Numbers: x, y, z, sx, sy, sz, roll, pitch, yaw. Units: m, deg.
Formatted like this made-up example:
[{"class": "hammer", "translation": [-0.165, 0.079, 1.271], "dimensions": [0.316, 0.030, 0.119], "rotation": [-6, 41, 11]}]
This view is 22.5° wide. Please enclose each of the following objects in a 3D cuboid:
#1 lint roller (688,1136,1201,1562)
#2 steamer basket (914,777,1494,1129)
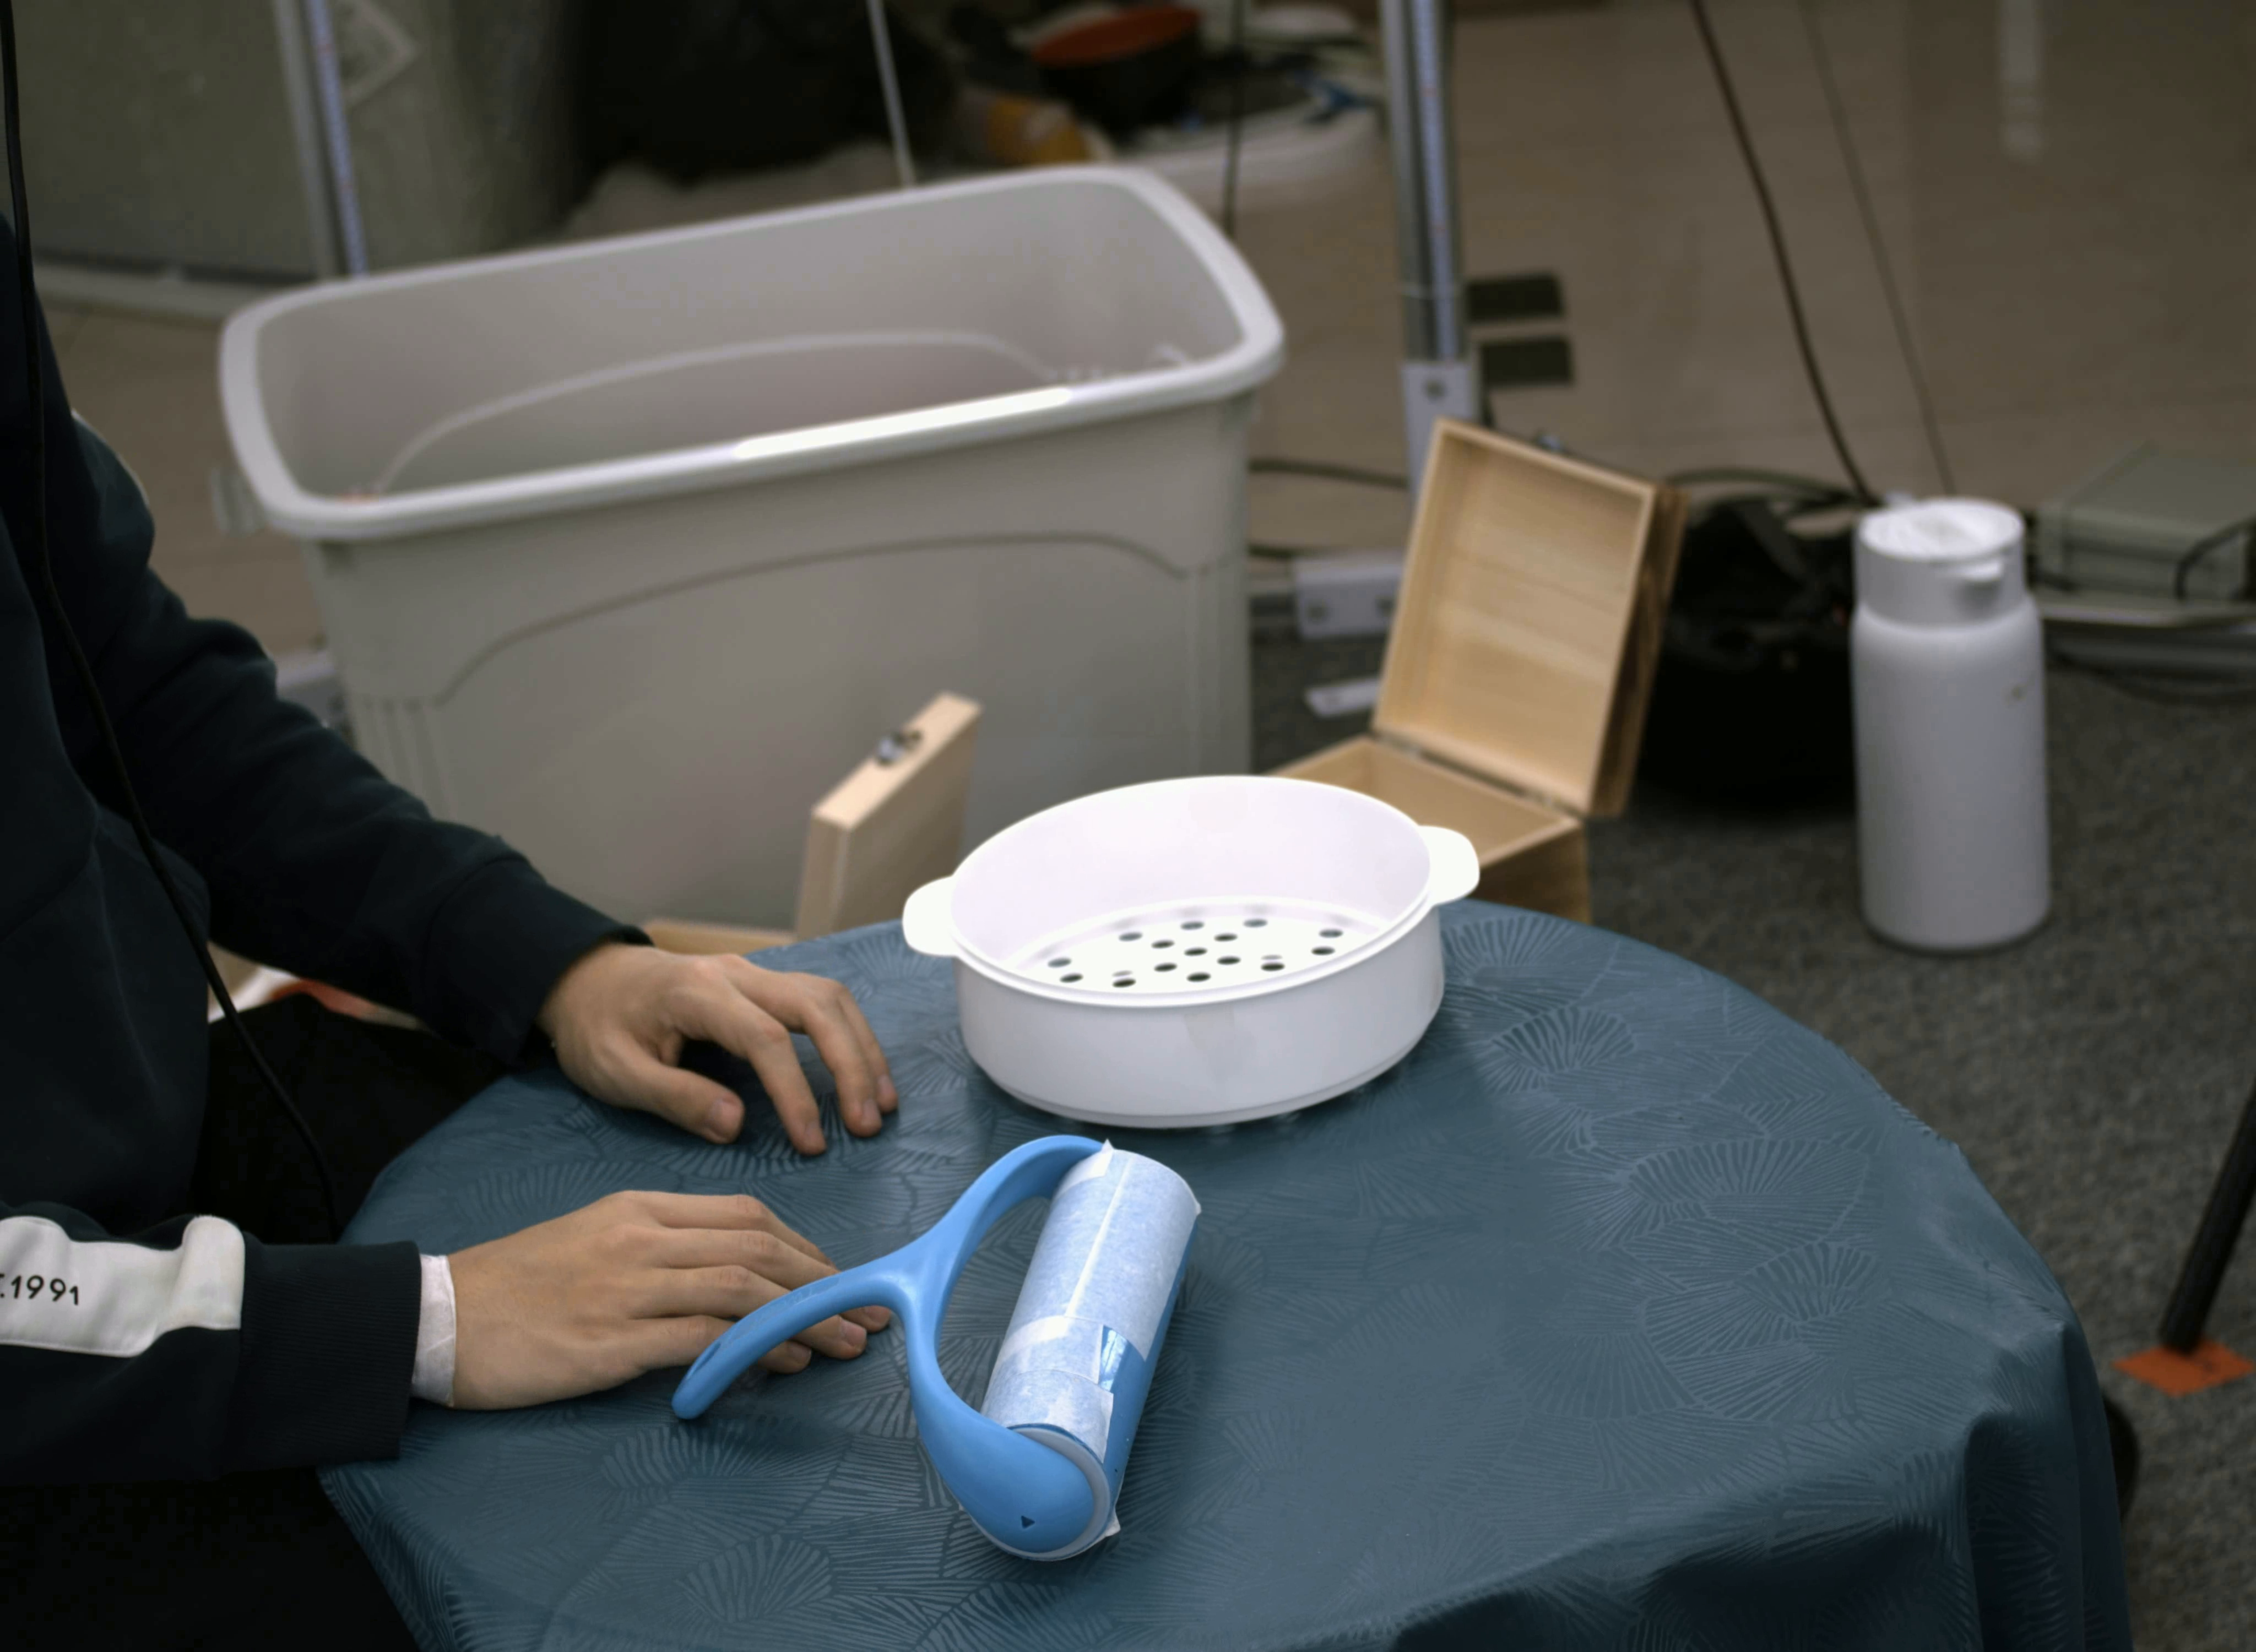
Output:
[{"class": "lint roller", "translation": [-0.070, 0.185, 1.998], "dimensions": [0.180, 0.069, 0.225], "rotation": [-2, 28, 7]}, {"class": "steamer basket", "translation": [0.033, 0.050, 2.244], "dimensions": [0.230, 0.070, 0.199], "rotation": [-7, 24, 1]}]
